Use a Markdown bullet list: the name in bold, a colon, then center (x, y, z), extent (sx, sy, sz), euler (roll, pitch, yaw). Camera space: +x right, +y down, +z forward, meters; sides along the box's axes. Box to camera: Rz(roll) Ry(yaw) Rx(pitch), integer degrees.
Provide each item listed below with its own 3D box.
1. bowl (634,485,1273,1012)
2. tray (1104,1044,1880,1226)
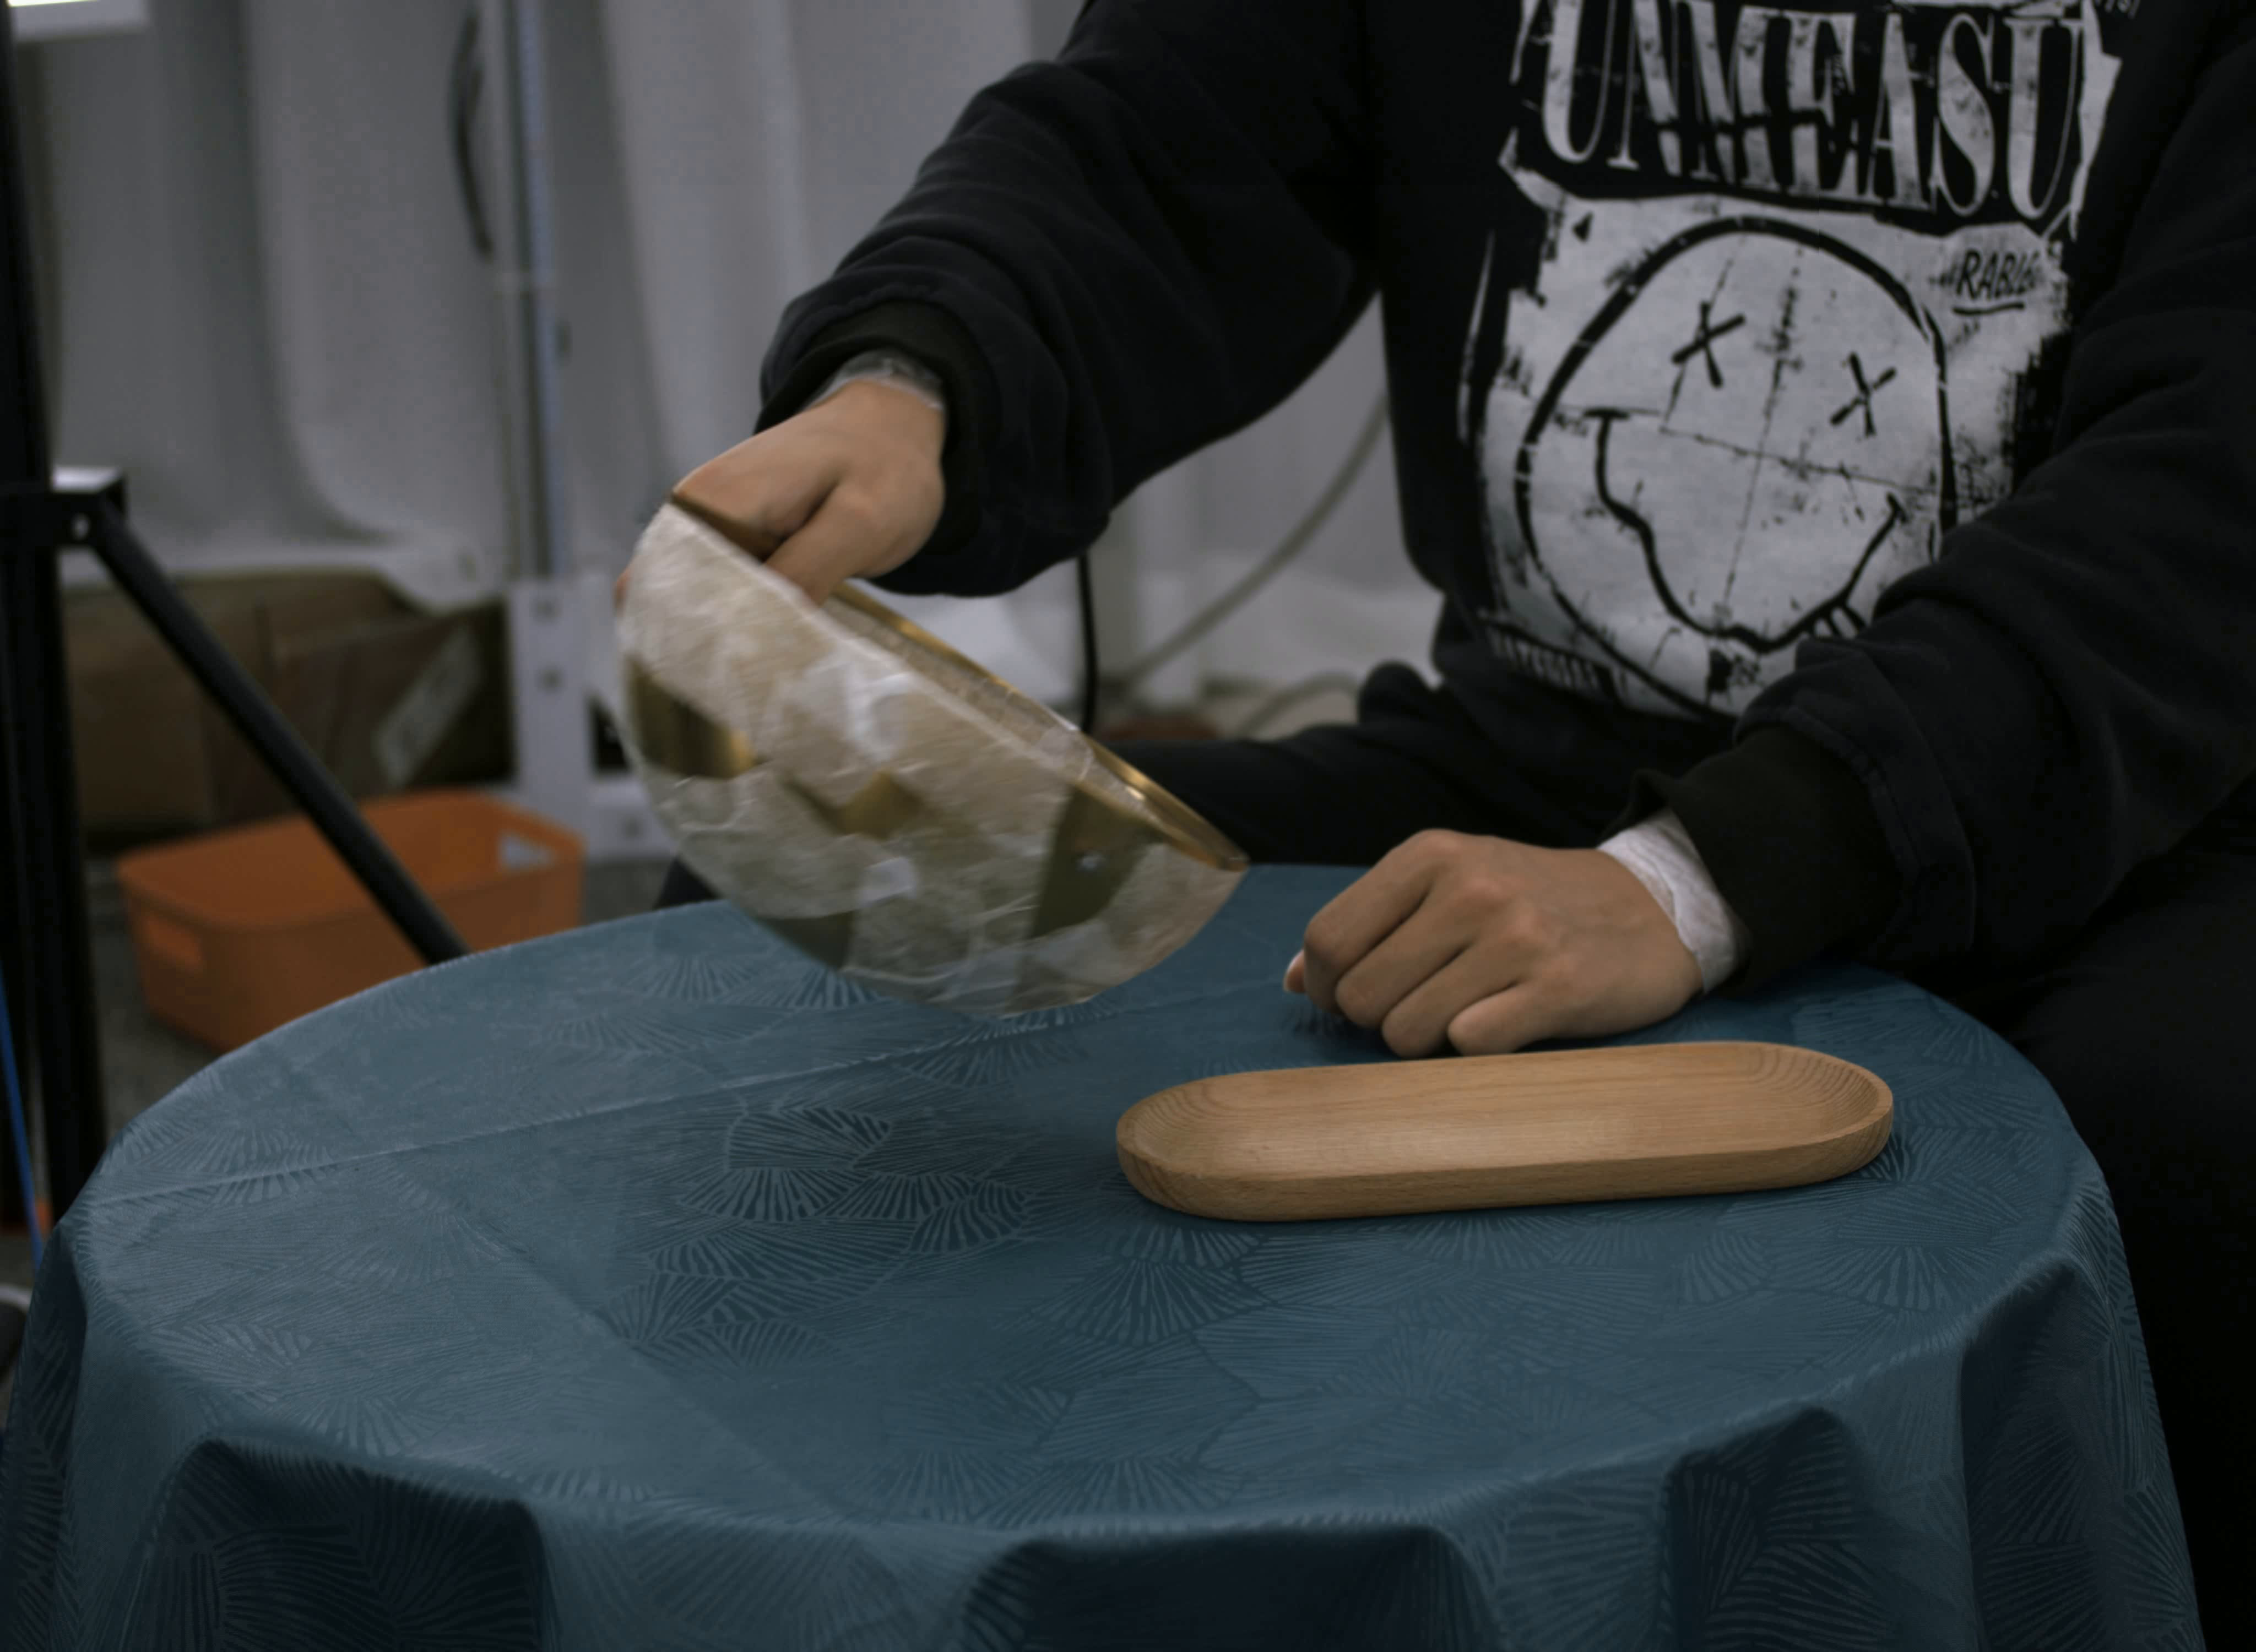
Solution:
- **bowl**: center (-0.064, -0.006, 1.555), extent (0.214, 0.095, 0.215), euler (32, 3, -4)
- **tray**: center (0.108, 0.092, 1.568), extent (0.229, 0.020, 0.102), euler (-5, 14, -3)
